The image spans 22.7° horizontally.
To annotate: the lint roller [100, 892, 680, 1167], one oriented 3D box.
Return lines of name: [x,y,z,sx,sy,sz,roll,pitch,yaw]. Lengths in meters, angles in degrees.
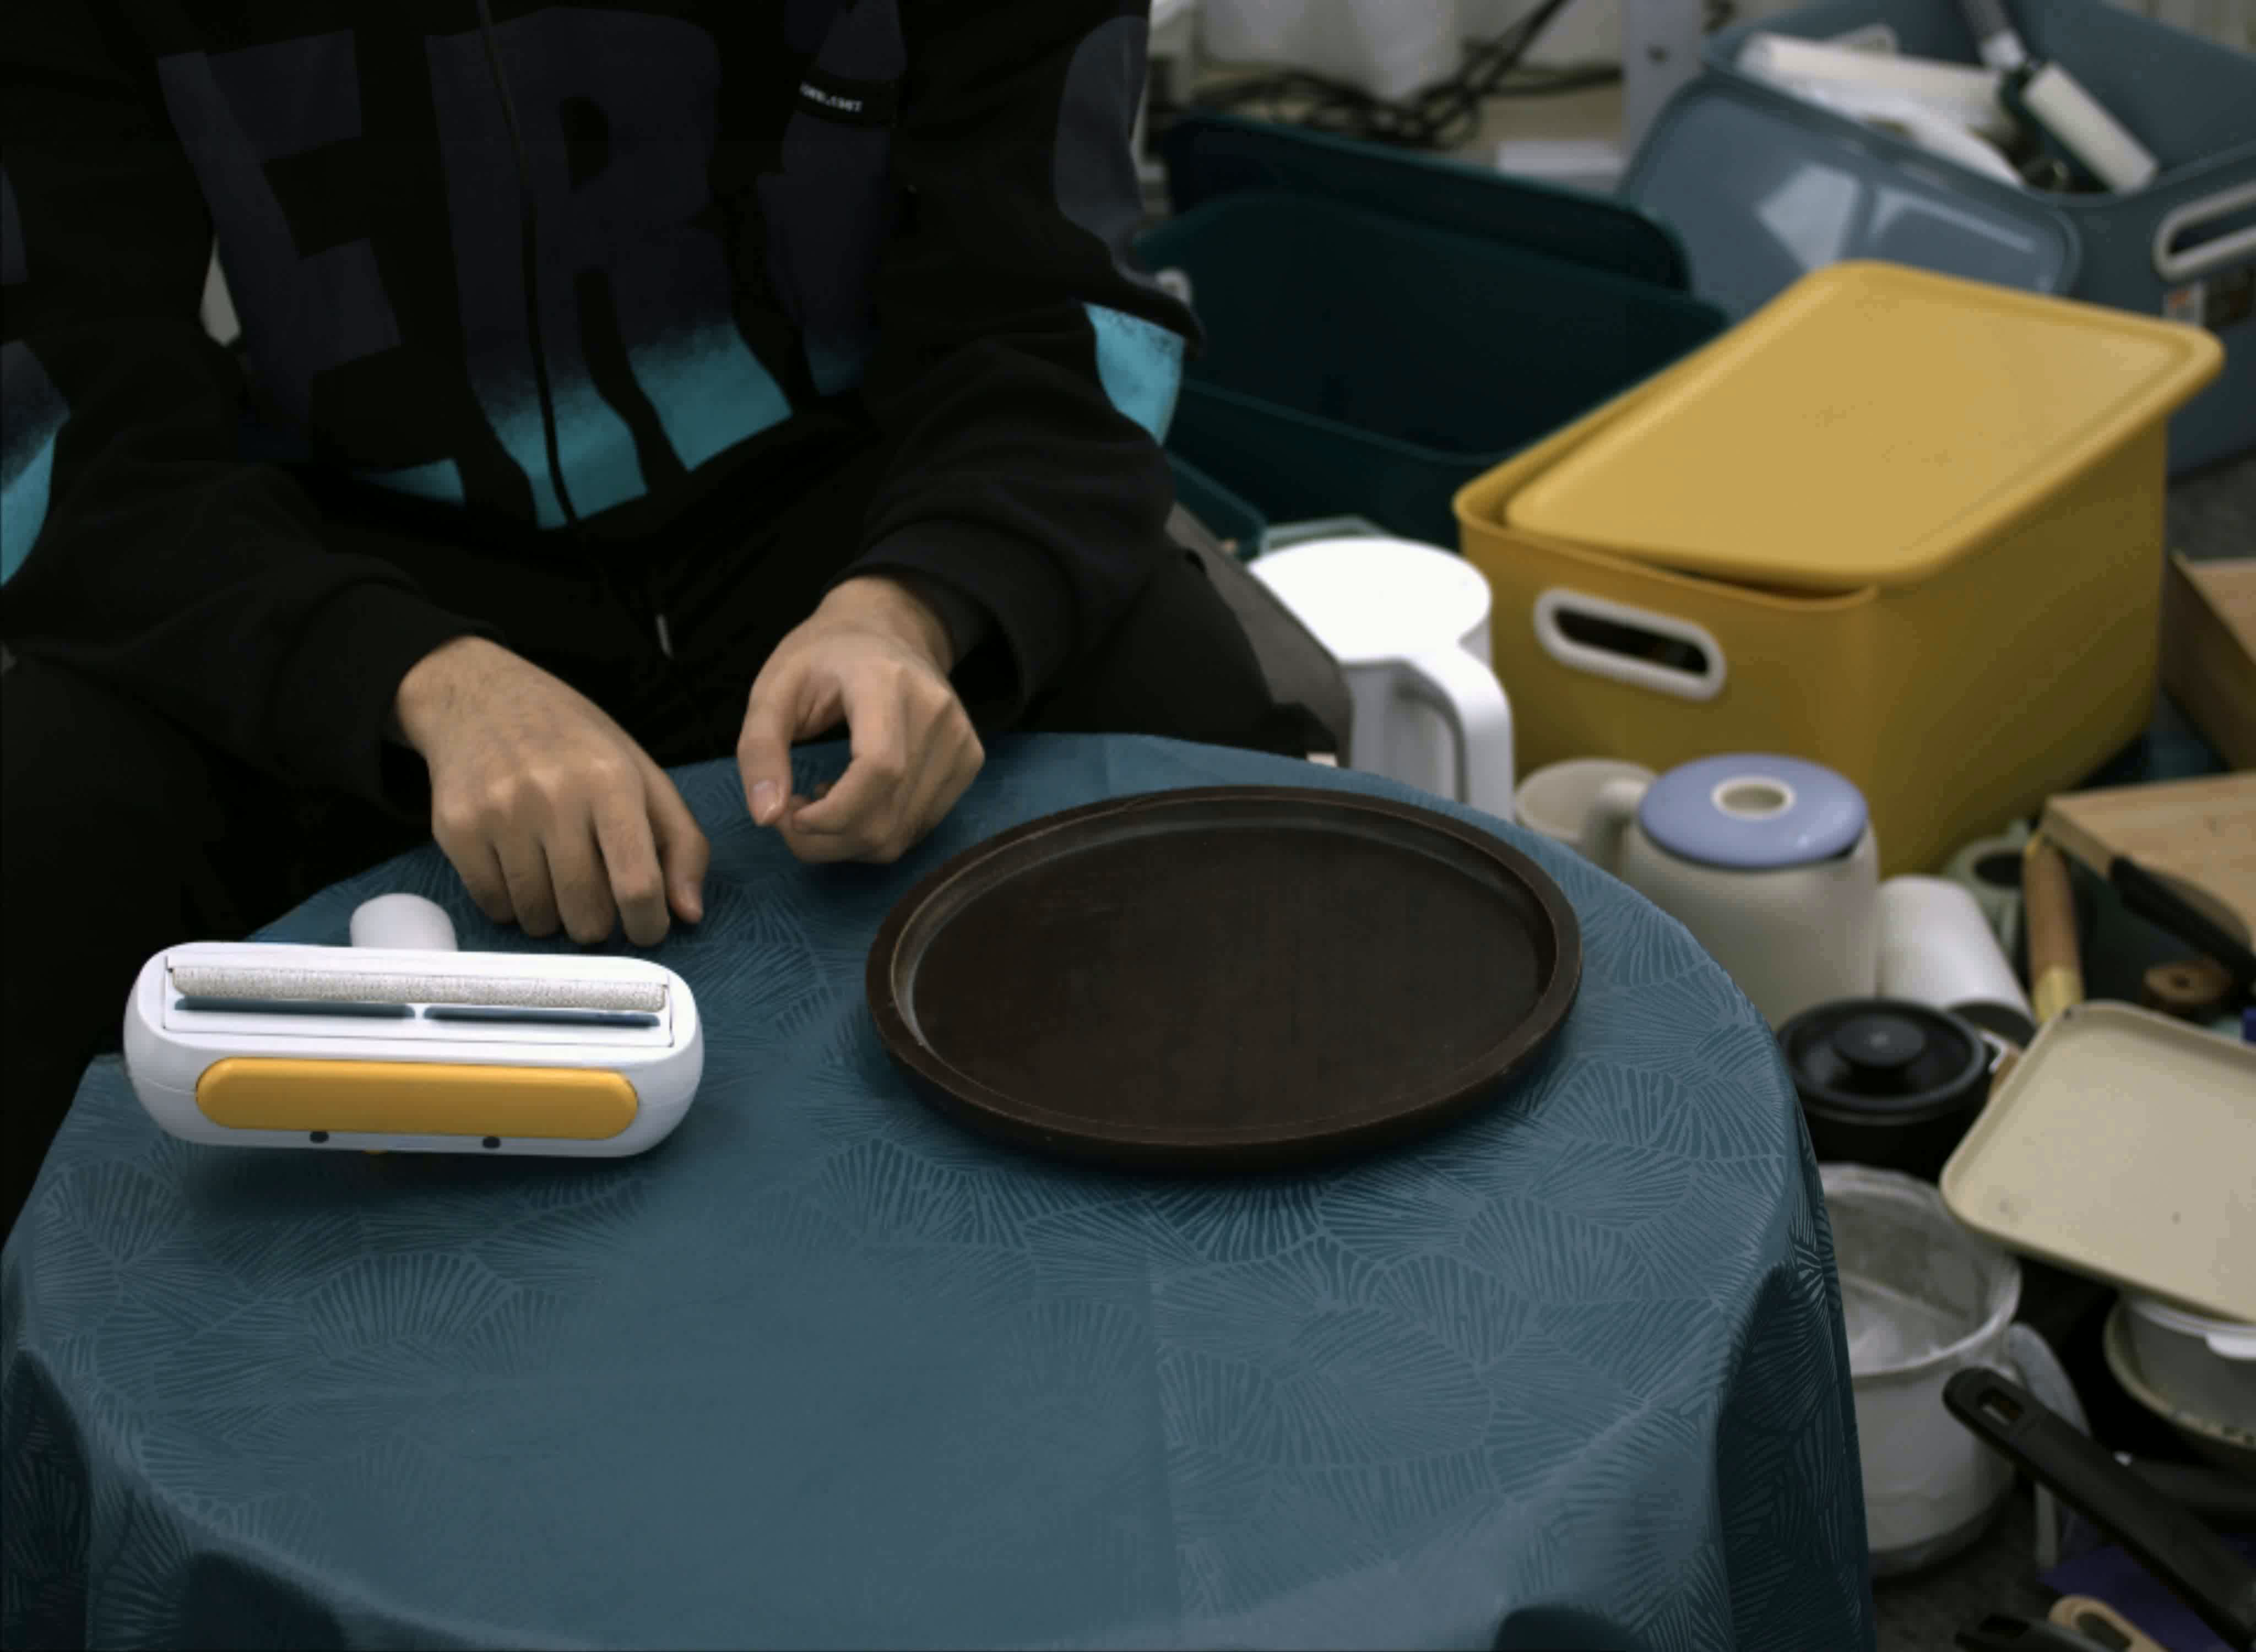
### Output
lint roller: [-0.251,0.057,1.937,0.192,0.073,0.195,0,25,-5]

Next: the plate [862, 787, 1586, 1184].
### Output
plate: [0.033,0.054,1.962,0.253,0.029,0.258,-3,27,2]
